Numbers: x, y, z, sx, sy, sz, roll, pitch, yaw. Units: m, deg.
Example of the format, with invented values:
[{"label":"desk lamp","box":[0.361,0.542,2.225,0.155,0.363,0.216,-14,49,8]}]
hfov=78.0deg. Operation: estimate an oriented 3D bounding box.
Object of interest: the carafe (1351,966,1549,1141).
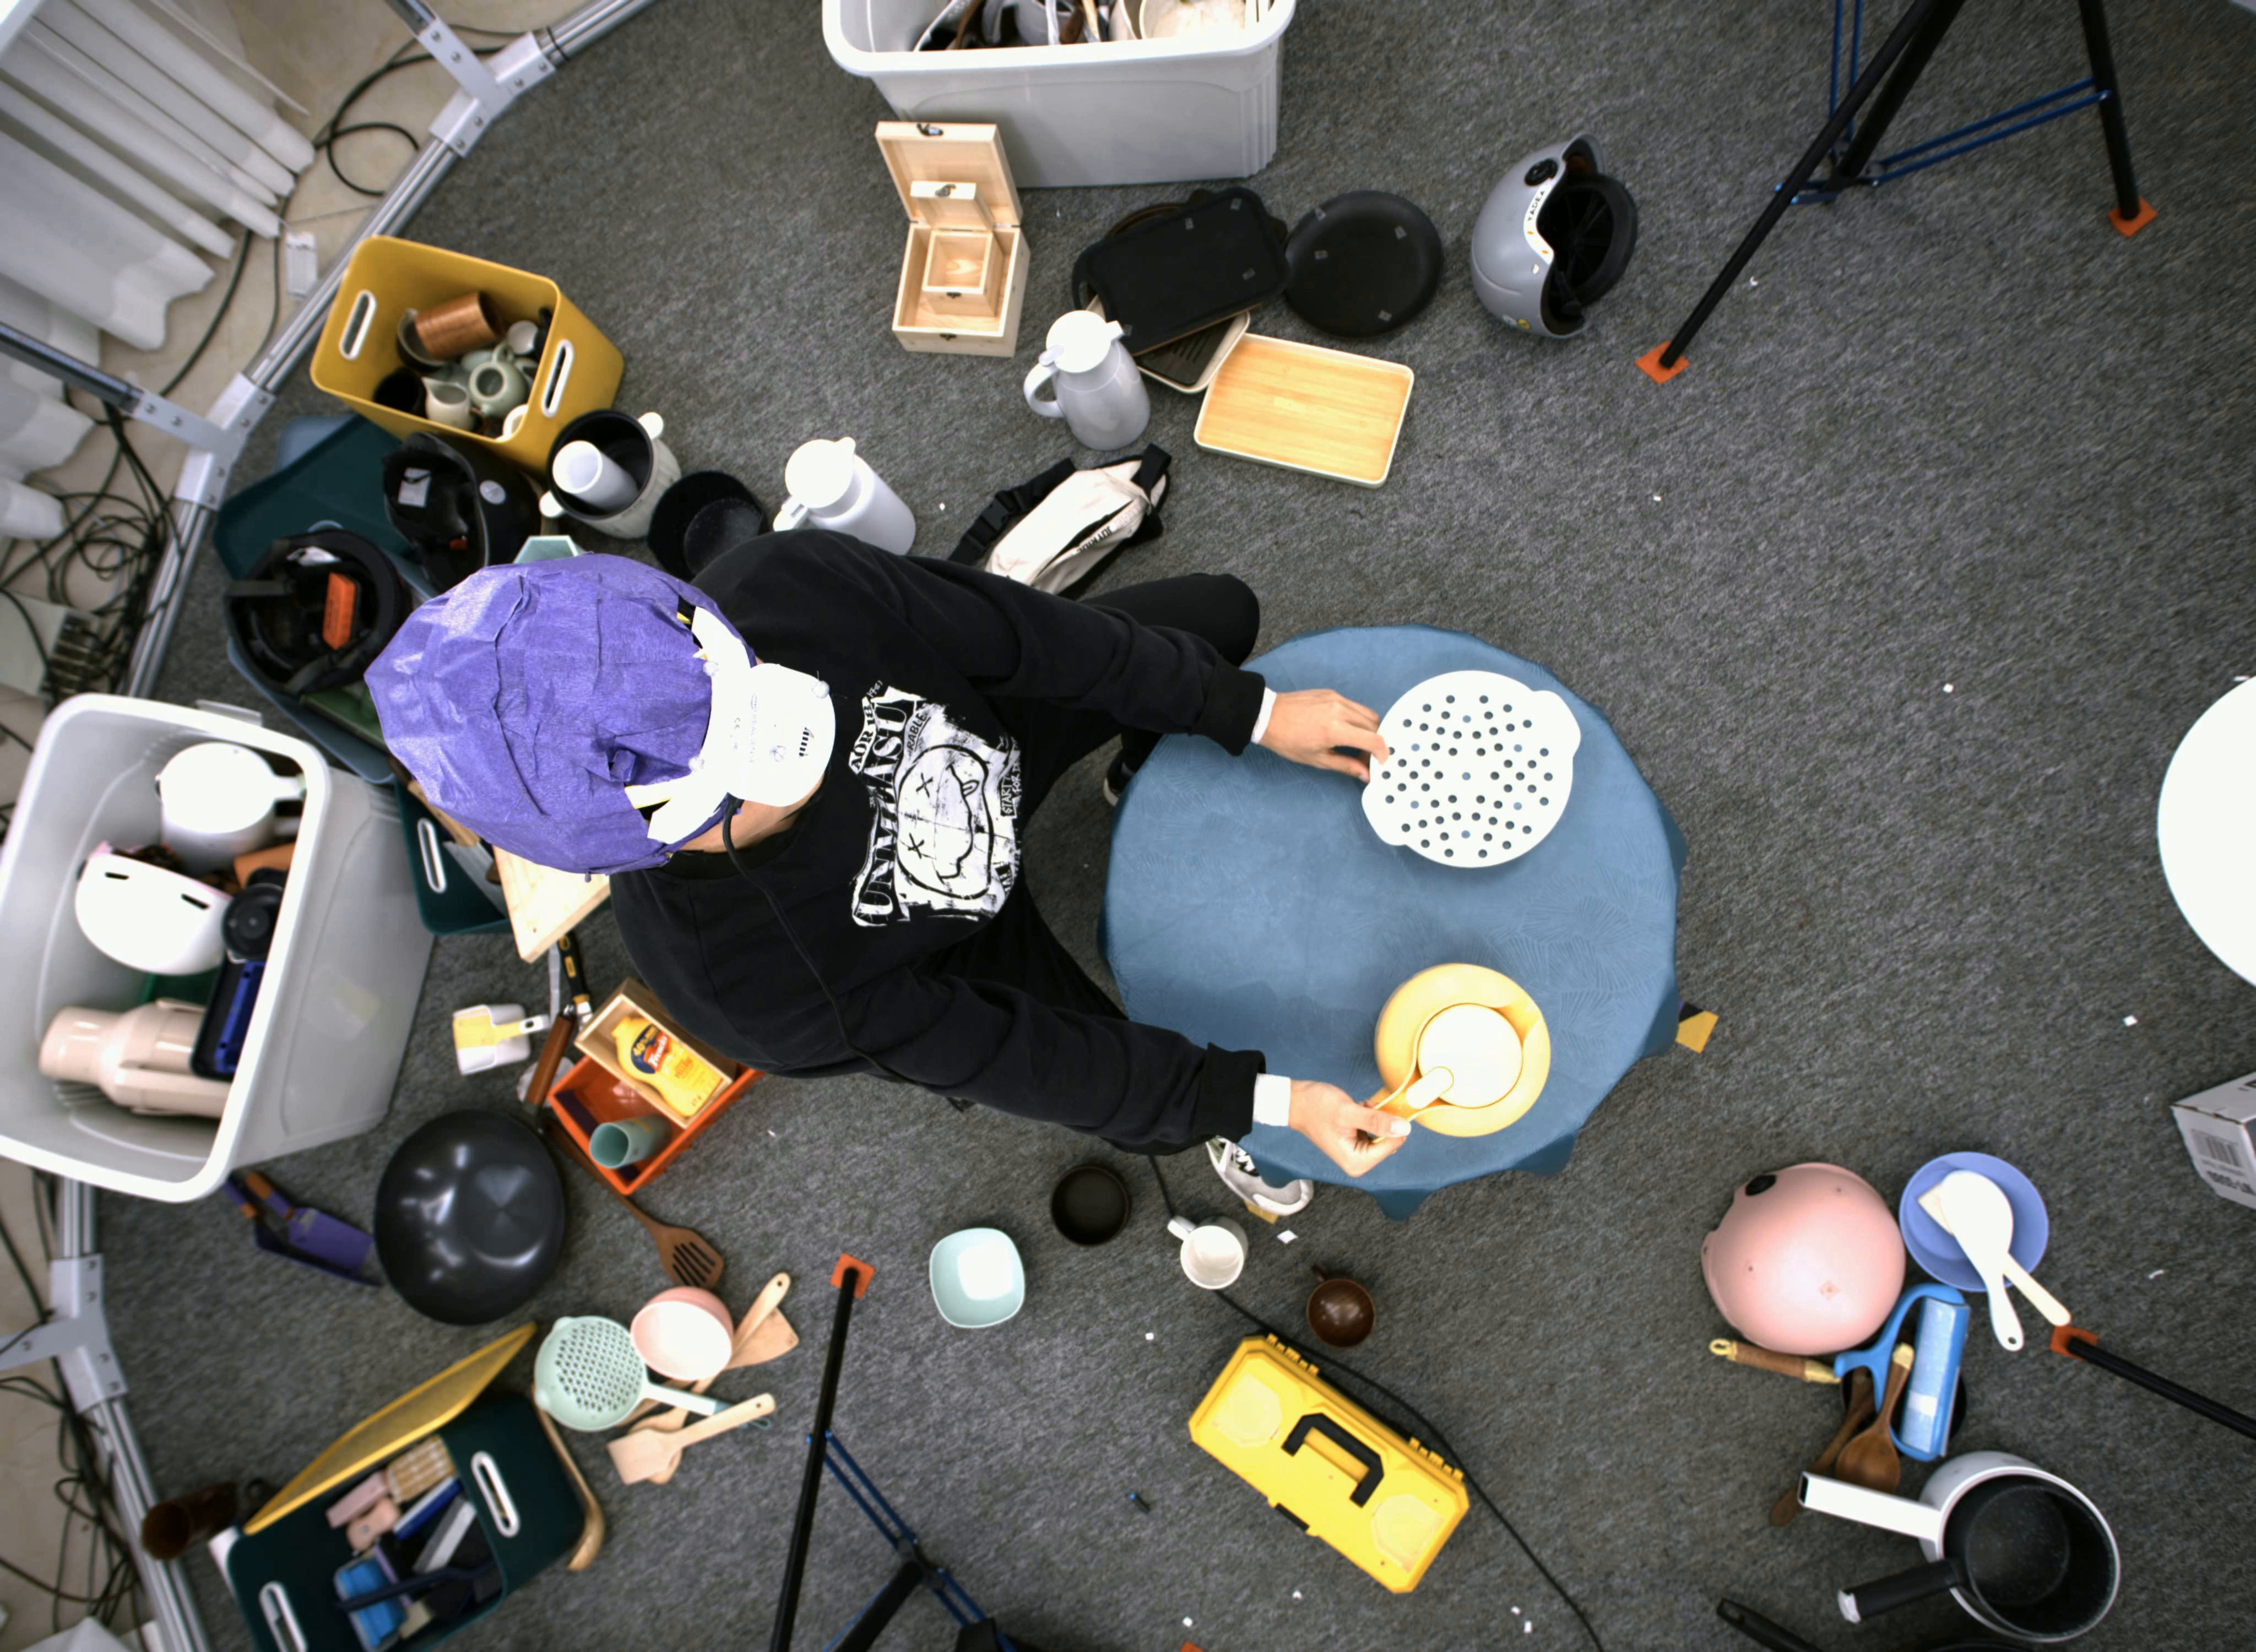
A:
[{"label":"carafe","box":[0.300,0.222,1.315,0.203,0.261,0.162,-36,77,4]}]

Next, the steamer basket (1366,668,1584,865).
[{"label":"steamer basket","box":[0.356,-0.061,1.420,0.232,0.069,0.201,-29,83,7]}]
